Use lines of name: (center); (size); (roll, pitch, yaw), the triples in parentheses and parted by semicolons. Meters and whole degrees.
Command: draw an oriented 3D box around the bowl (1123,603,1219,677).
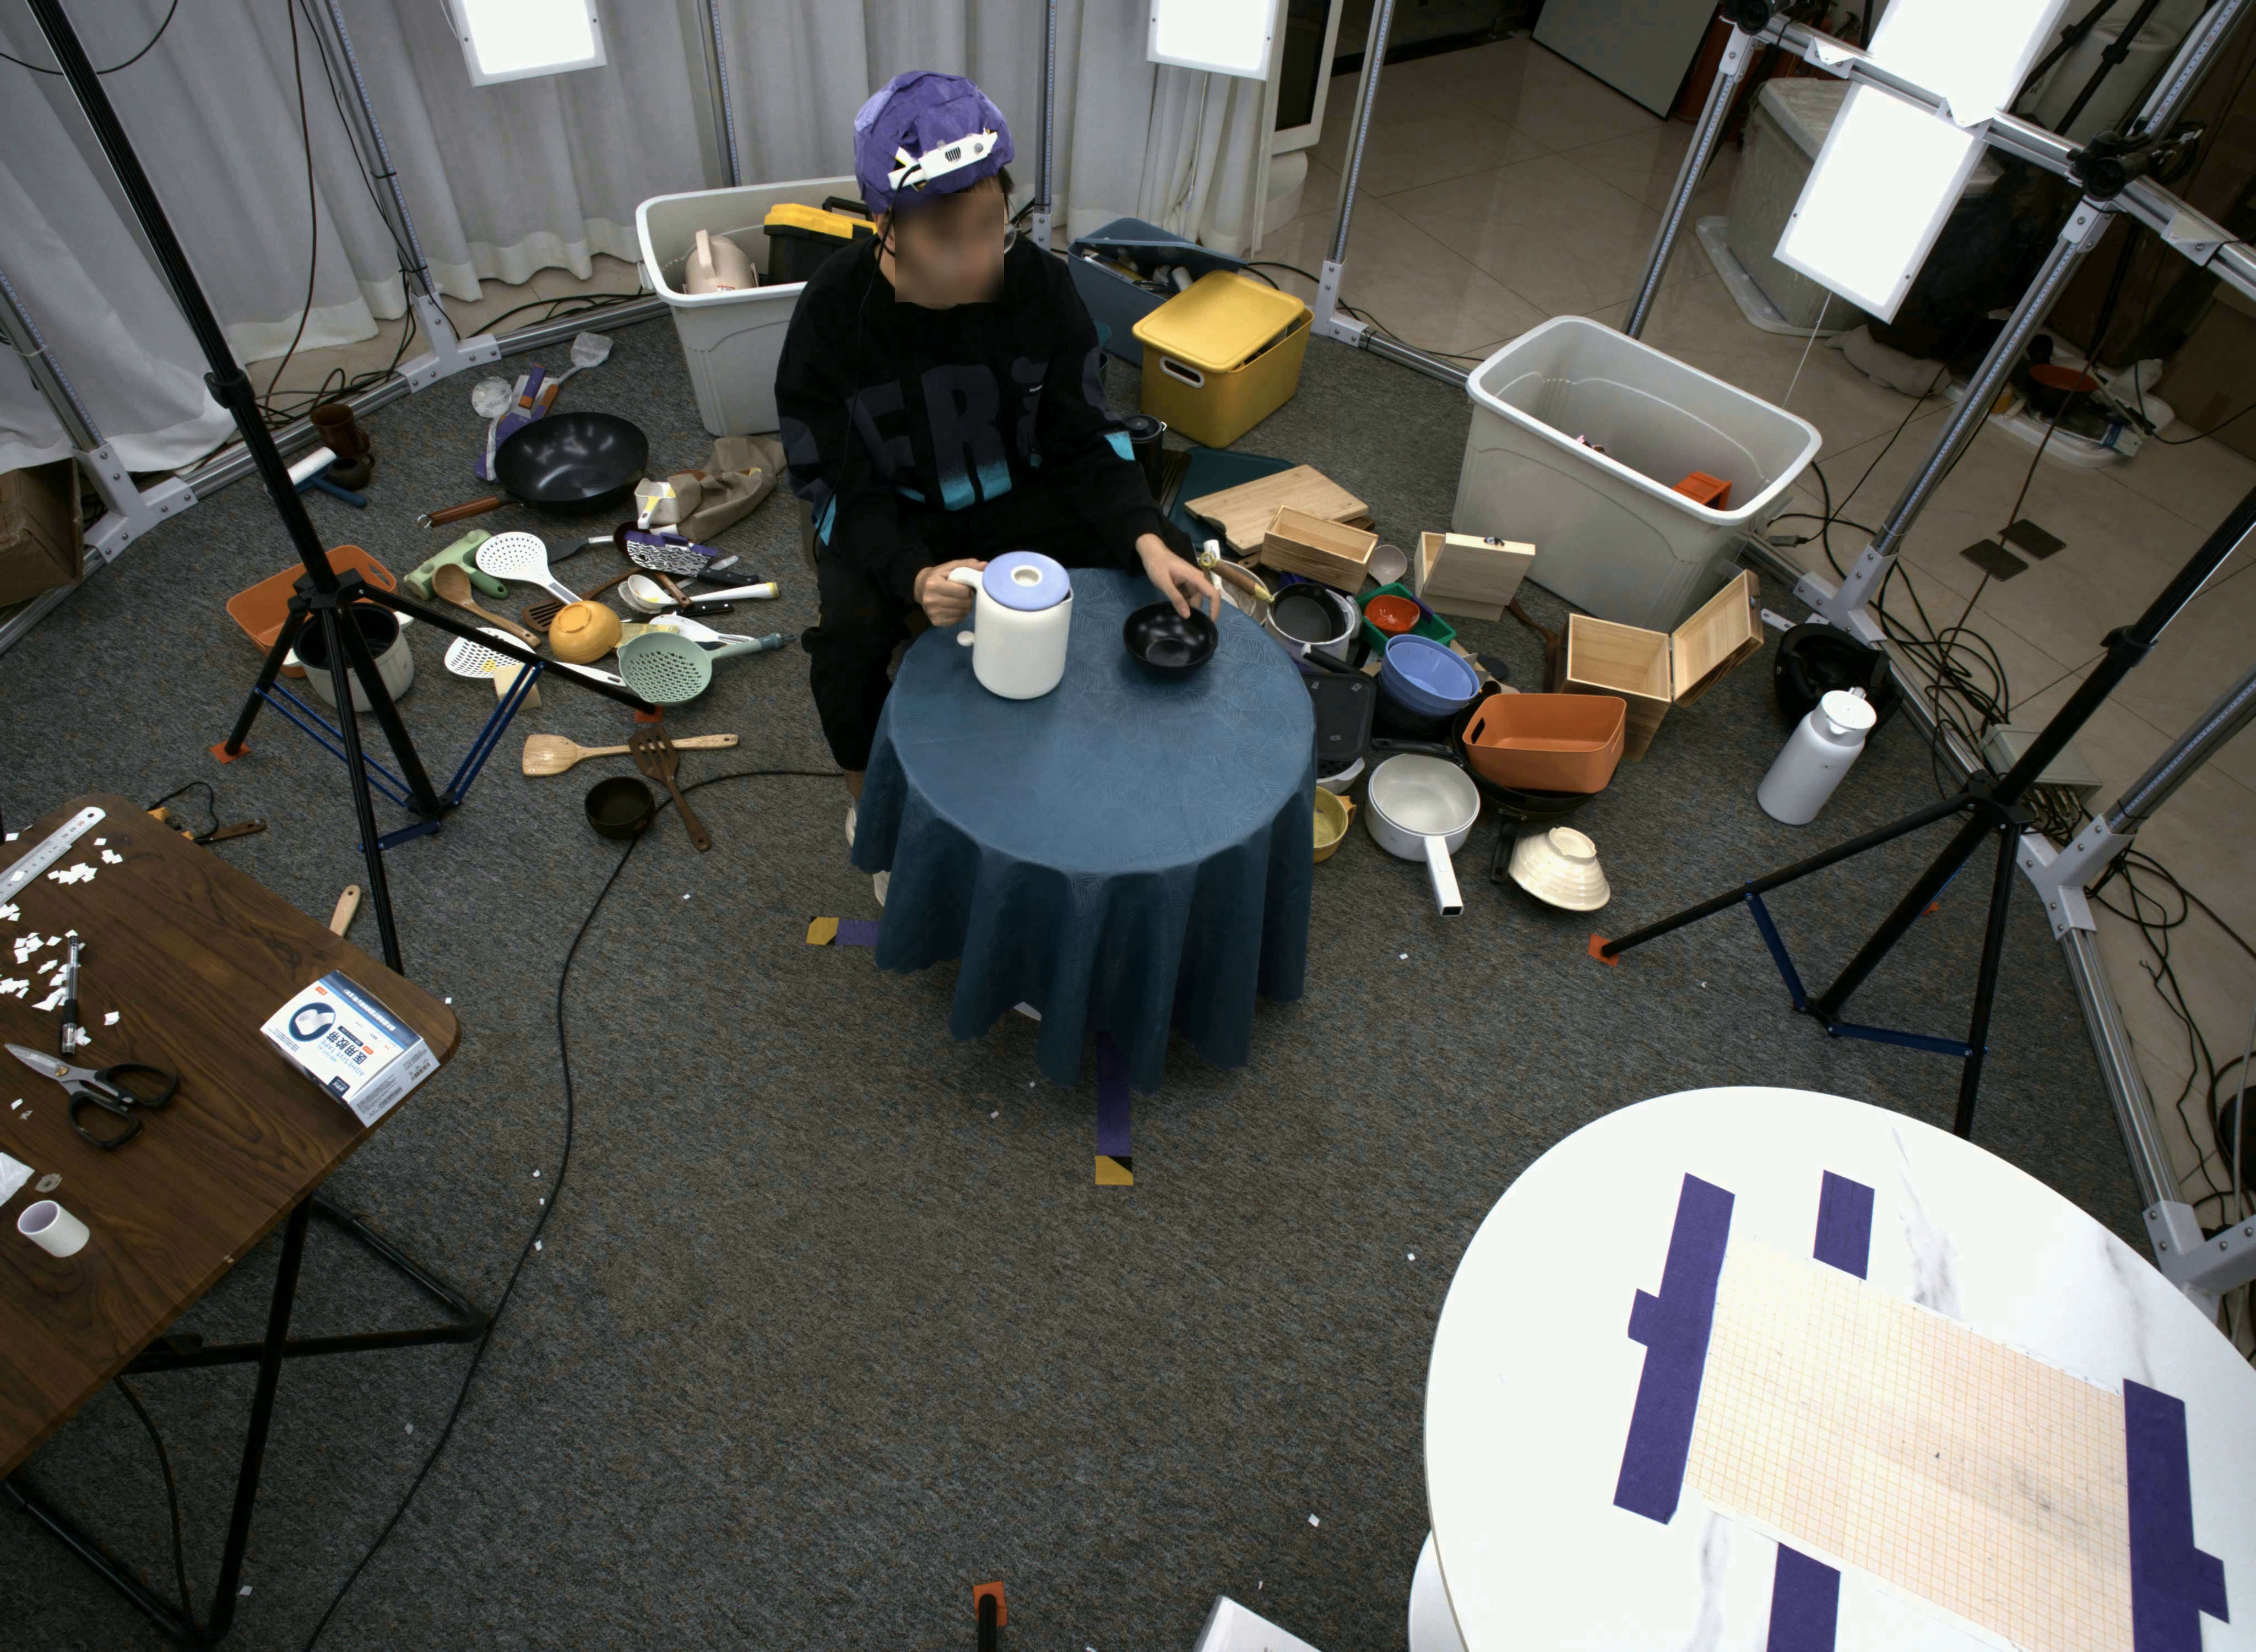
bowl: (0.062, -0.262, 1.868); (0.140, 0.048, 0.143); (1, 48, -1)

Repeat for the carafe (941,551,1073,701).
carafe: (-0.170, -0.284, 1.789); (0.192, 0.178, 0.135); (17, 48, 10)
